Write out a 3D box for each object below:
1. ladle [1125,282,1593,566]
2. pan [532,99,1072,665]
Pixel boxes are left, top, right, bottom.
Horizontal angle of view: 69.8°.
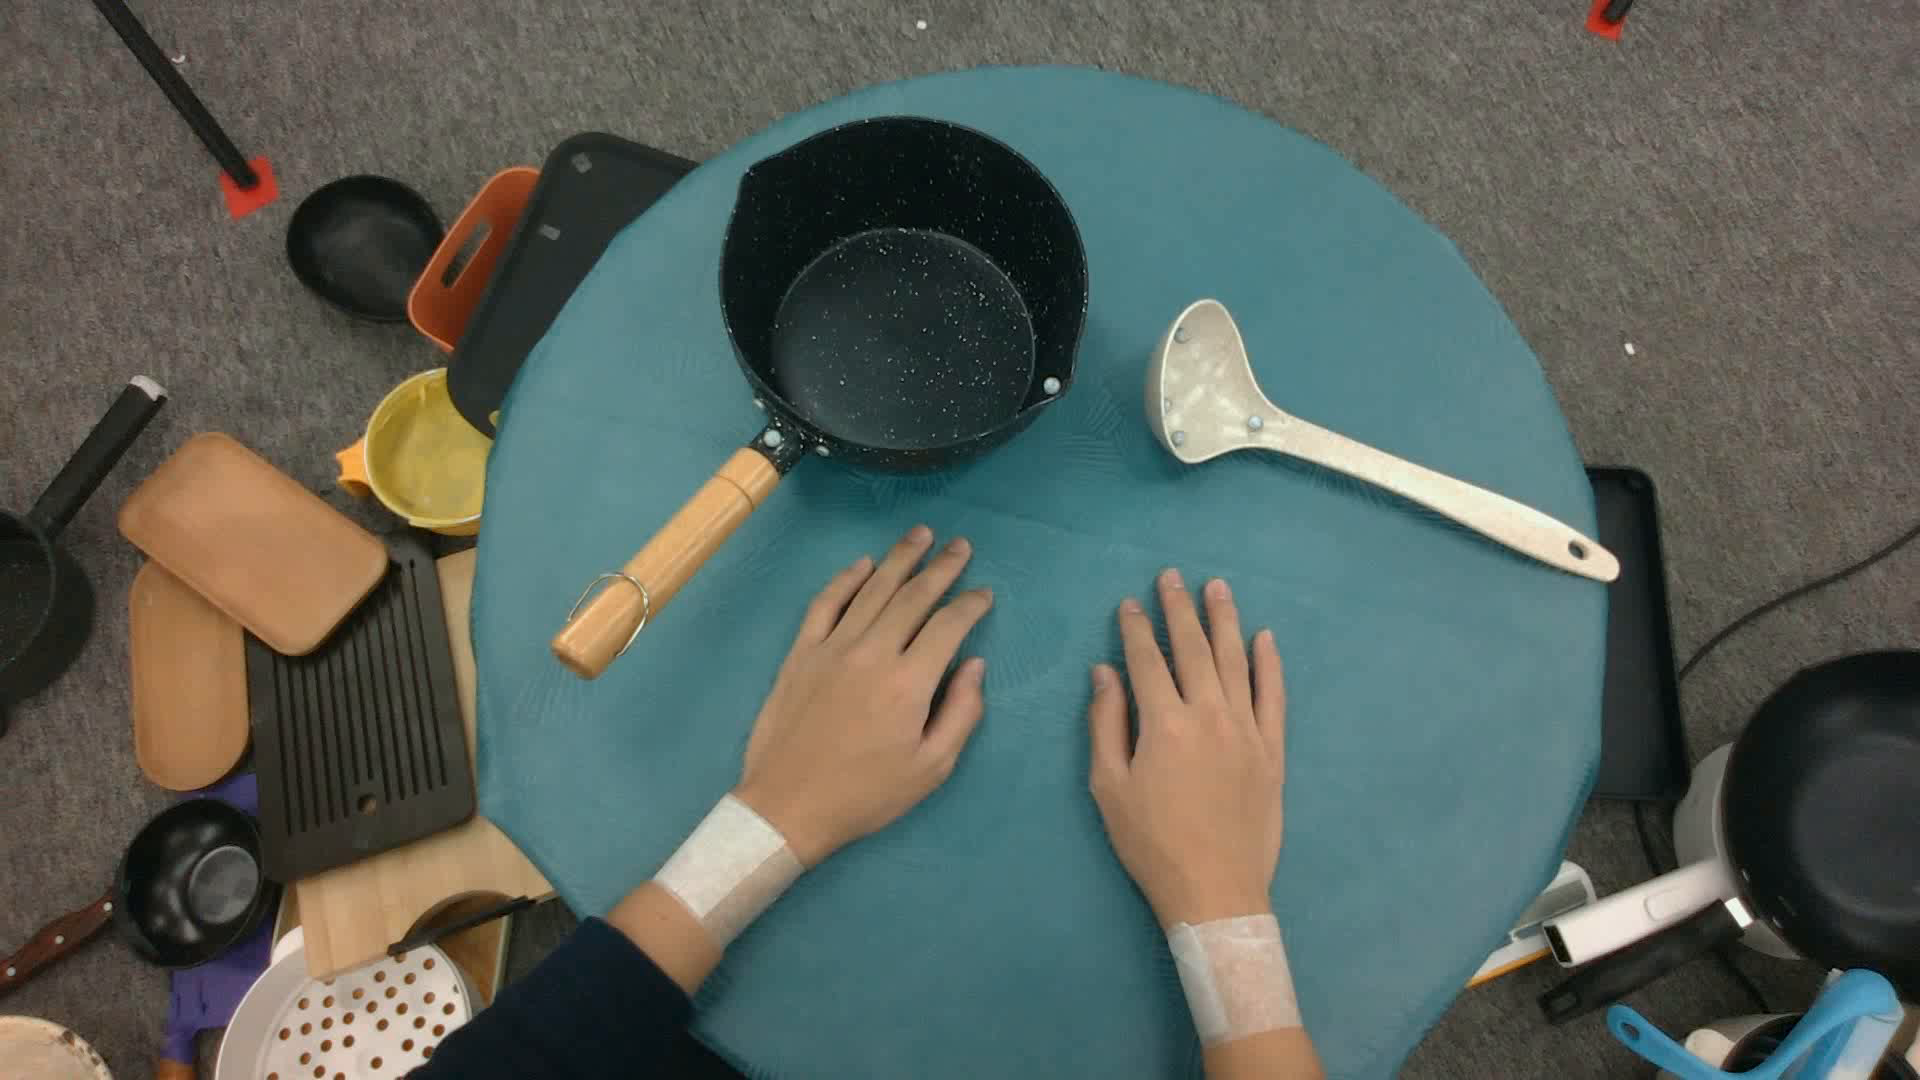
[{"bbox_3d":[0.218,-0.053,0.723,0.275,0.069,0.089,21,66,3],"label":"ladle"},{"bbox_3d":[-0.082,-0.067,0.688,0.207,0.108,0.344,34,73,6],"label":"pan"}]
